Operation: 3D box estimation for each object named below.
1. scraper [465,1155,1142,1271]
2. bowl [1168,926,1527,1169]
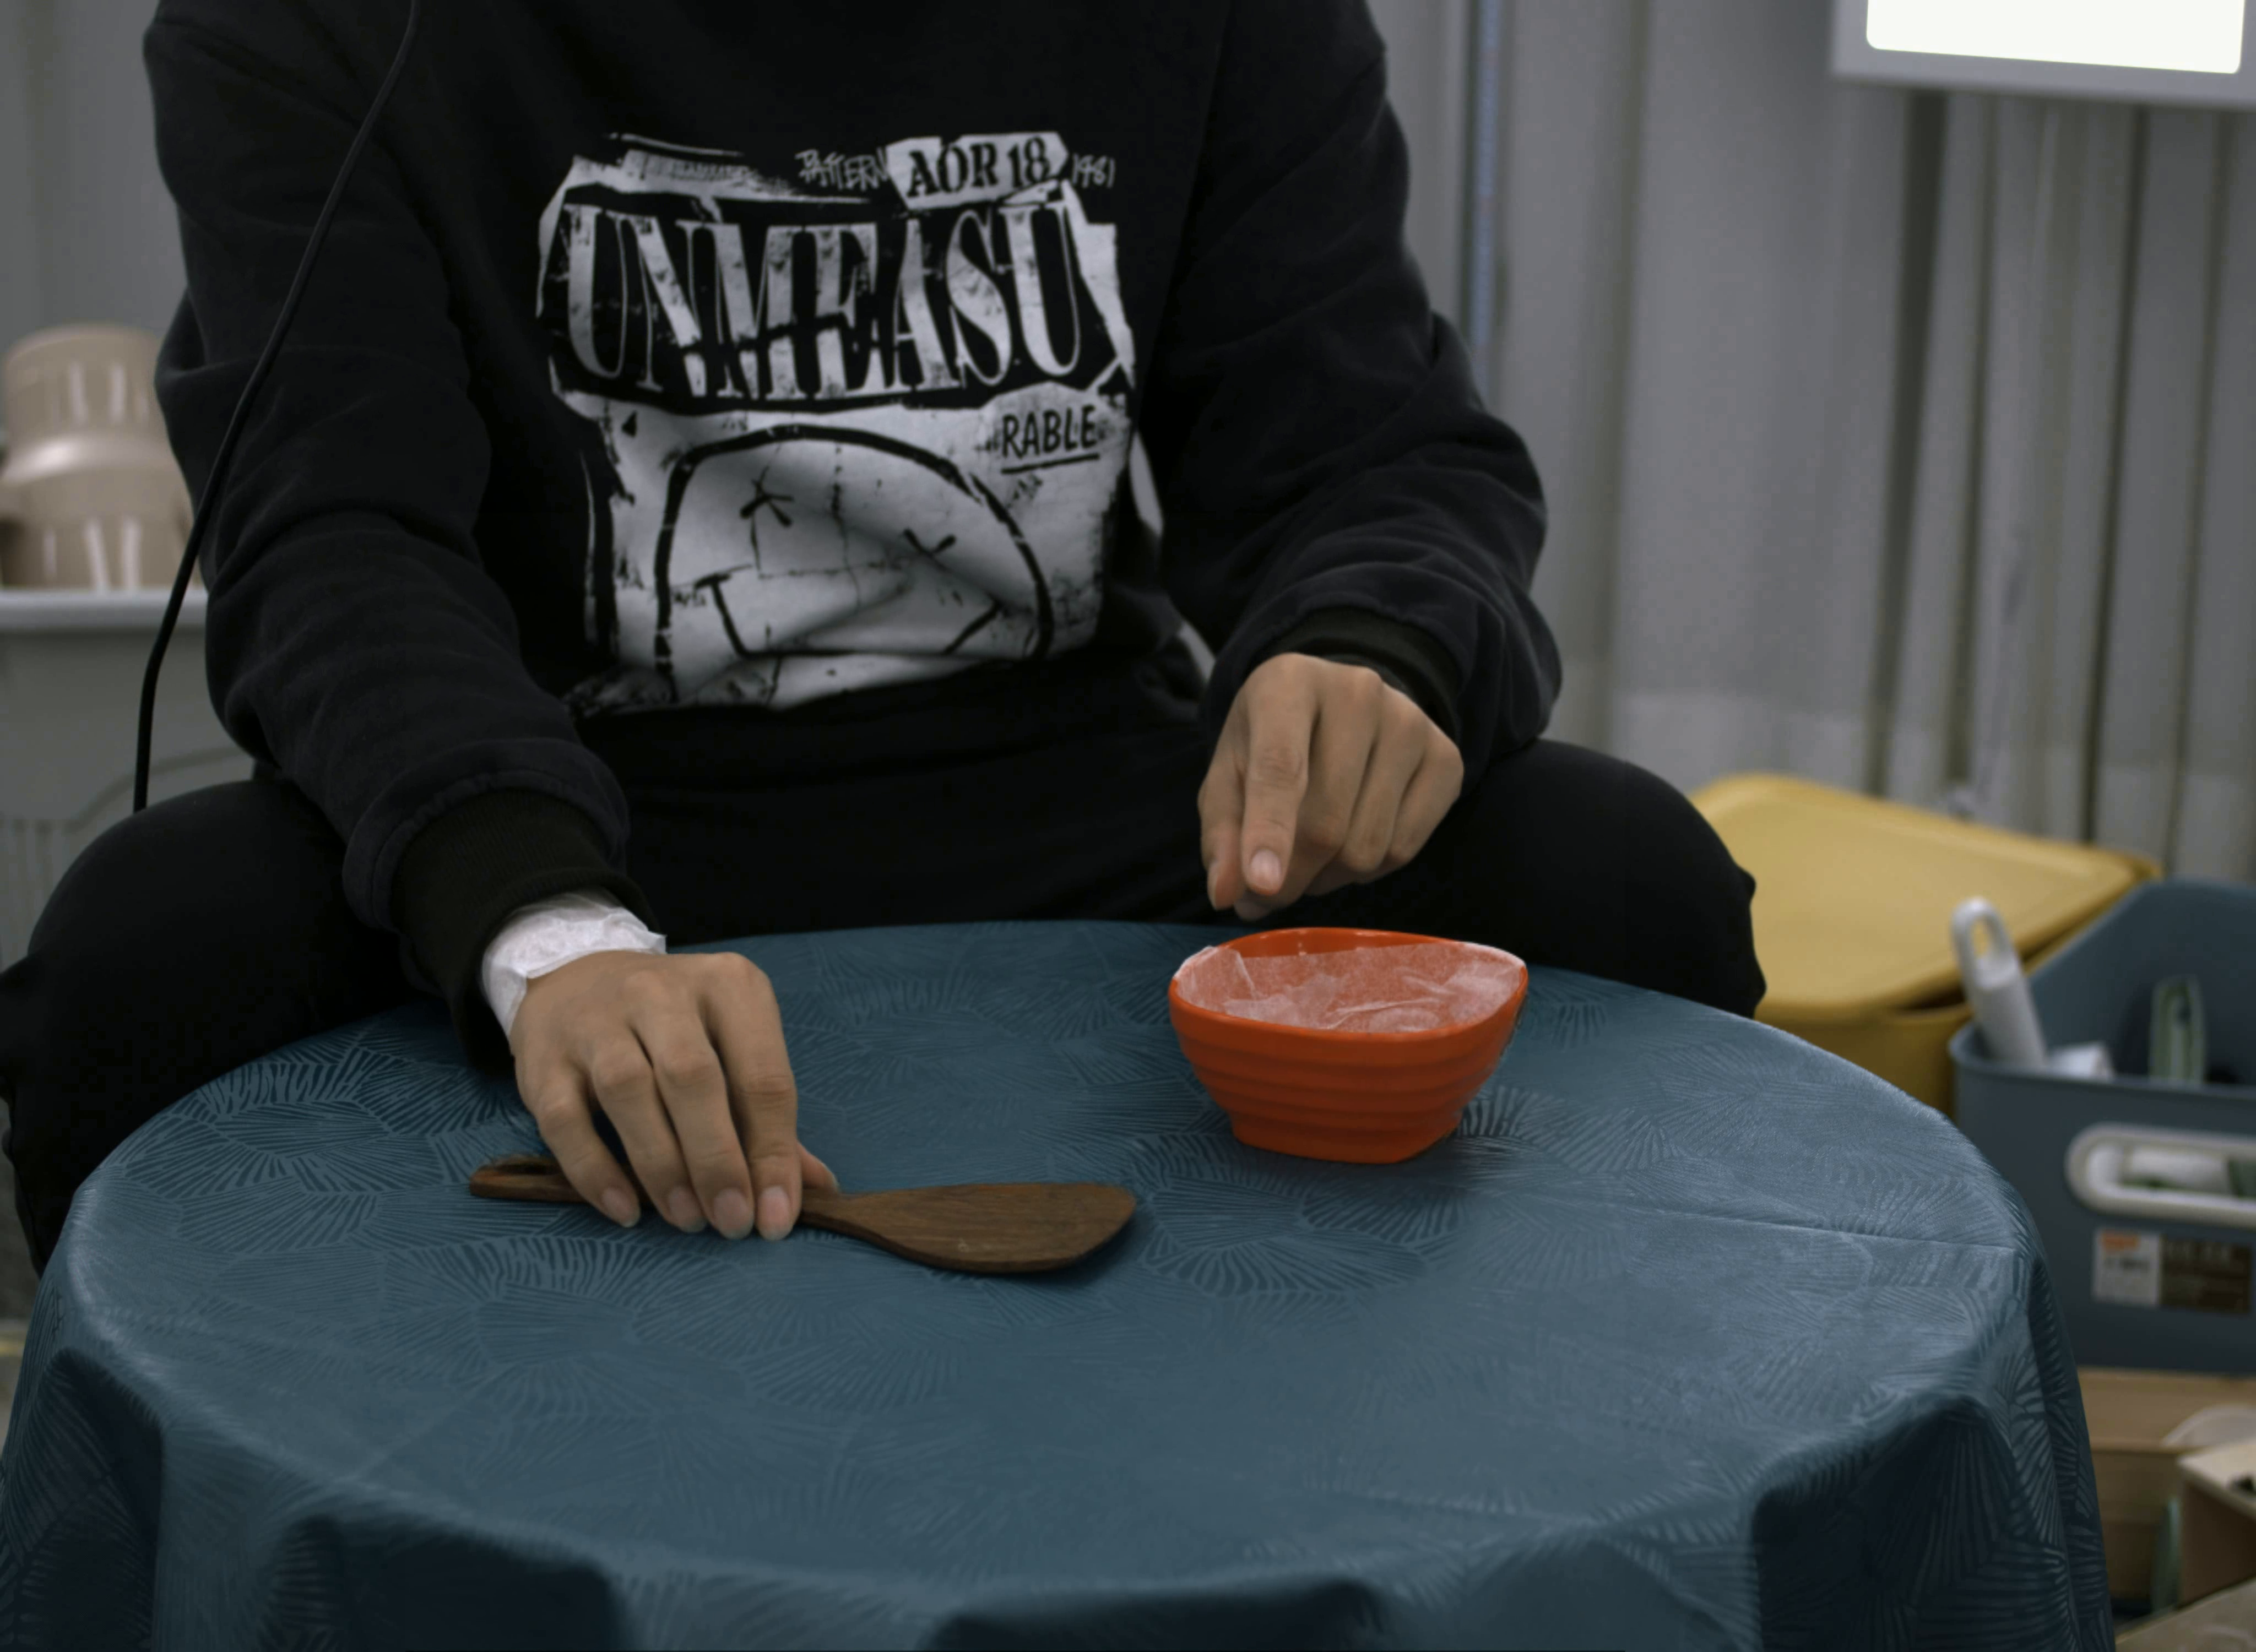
[{"bbox_3d":[-0.101,0.115,1.601,0.209,0.011,0.076,4,15,15],"label":"scraper"},{"bbox_3d":[0.070,0.073,1.680,0.118,0.052,0.118,0,18,0],"label":"bowl"}]
